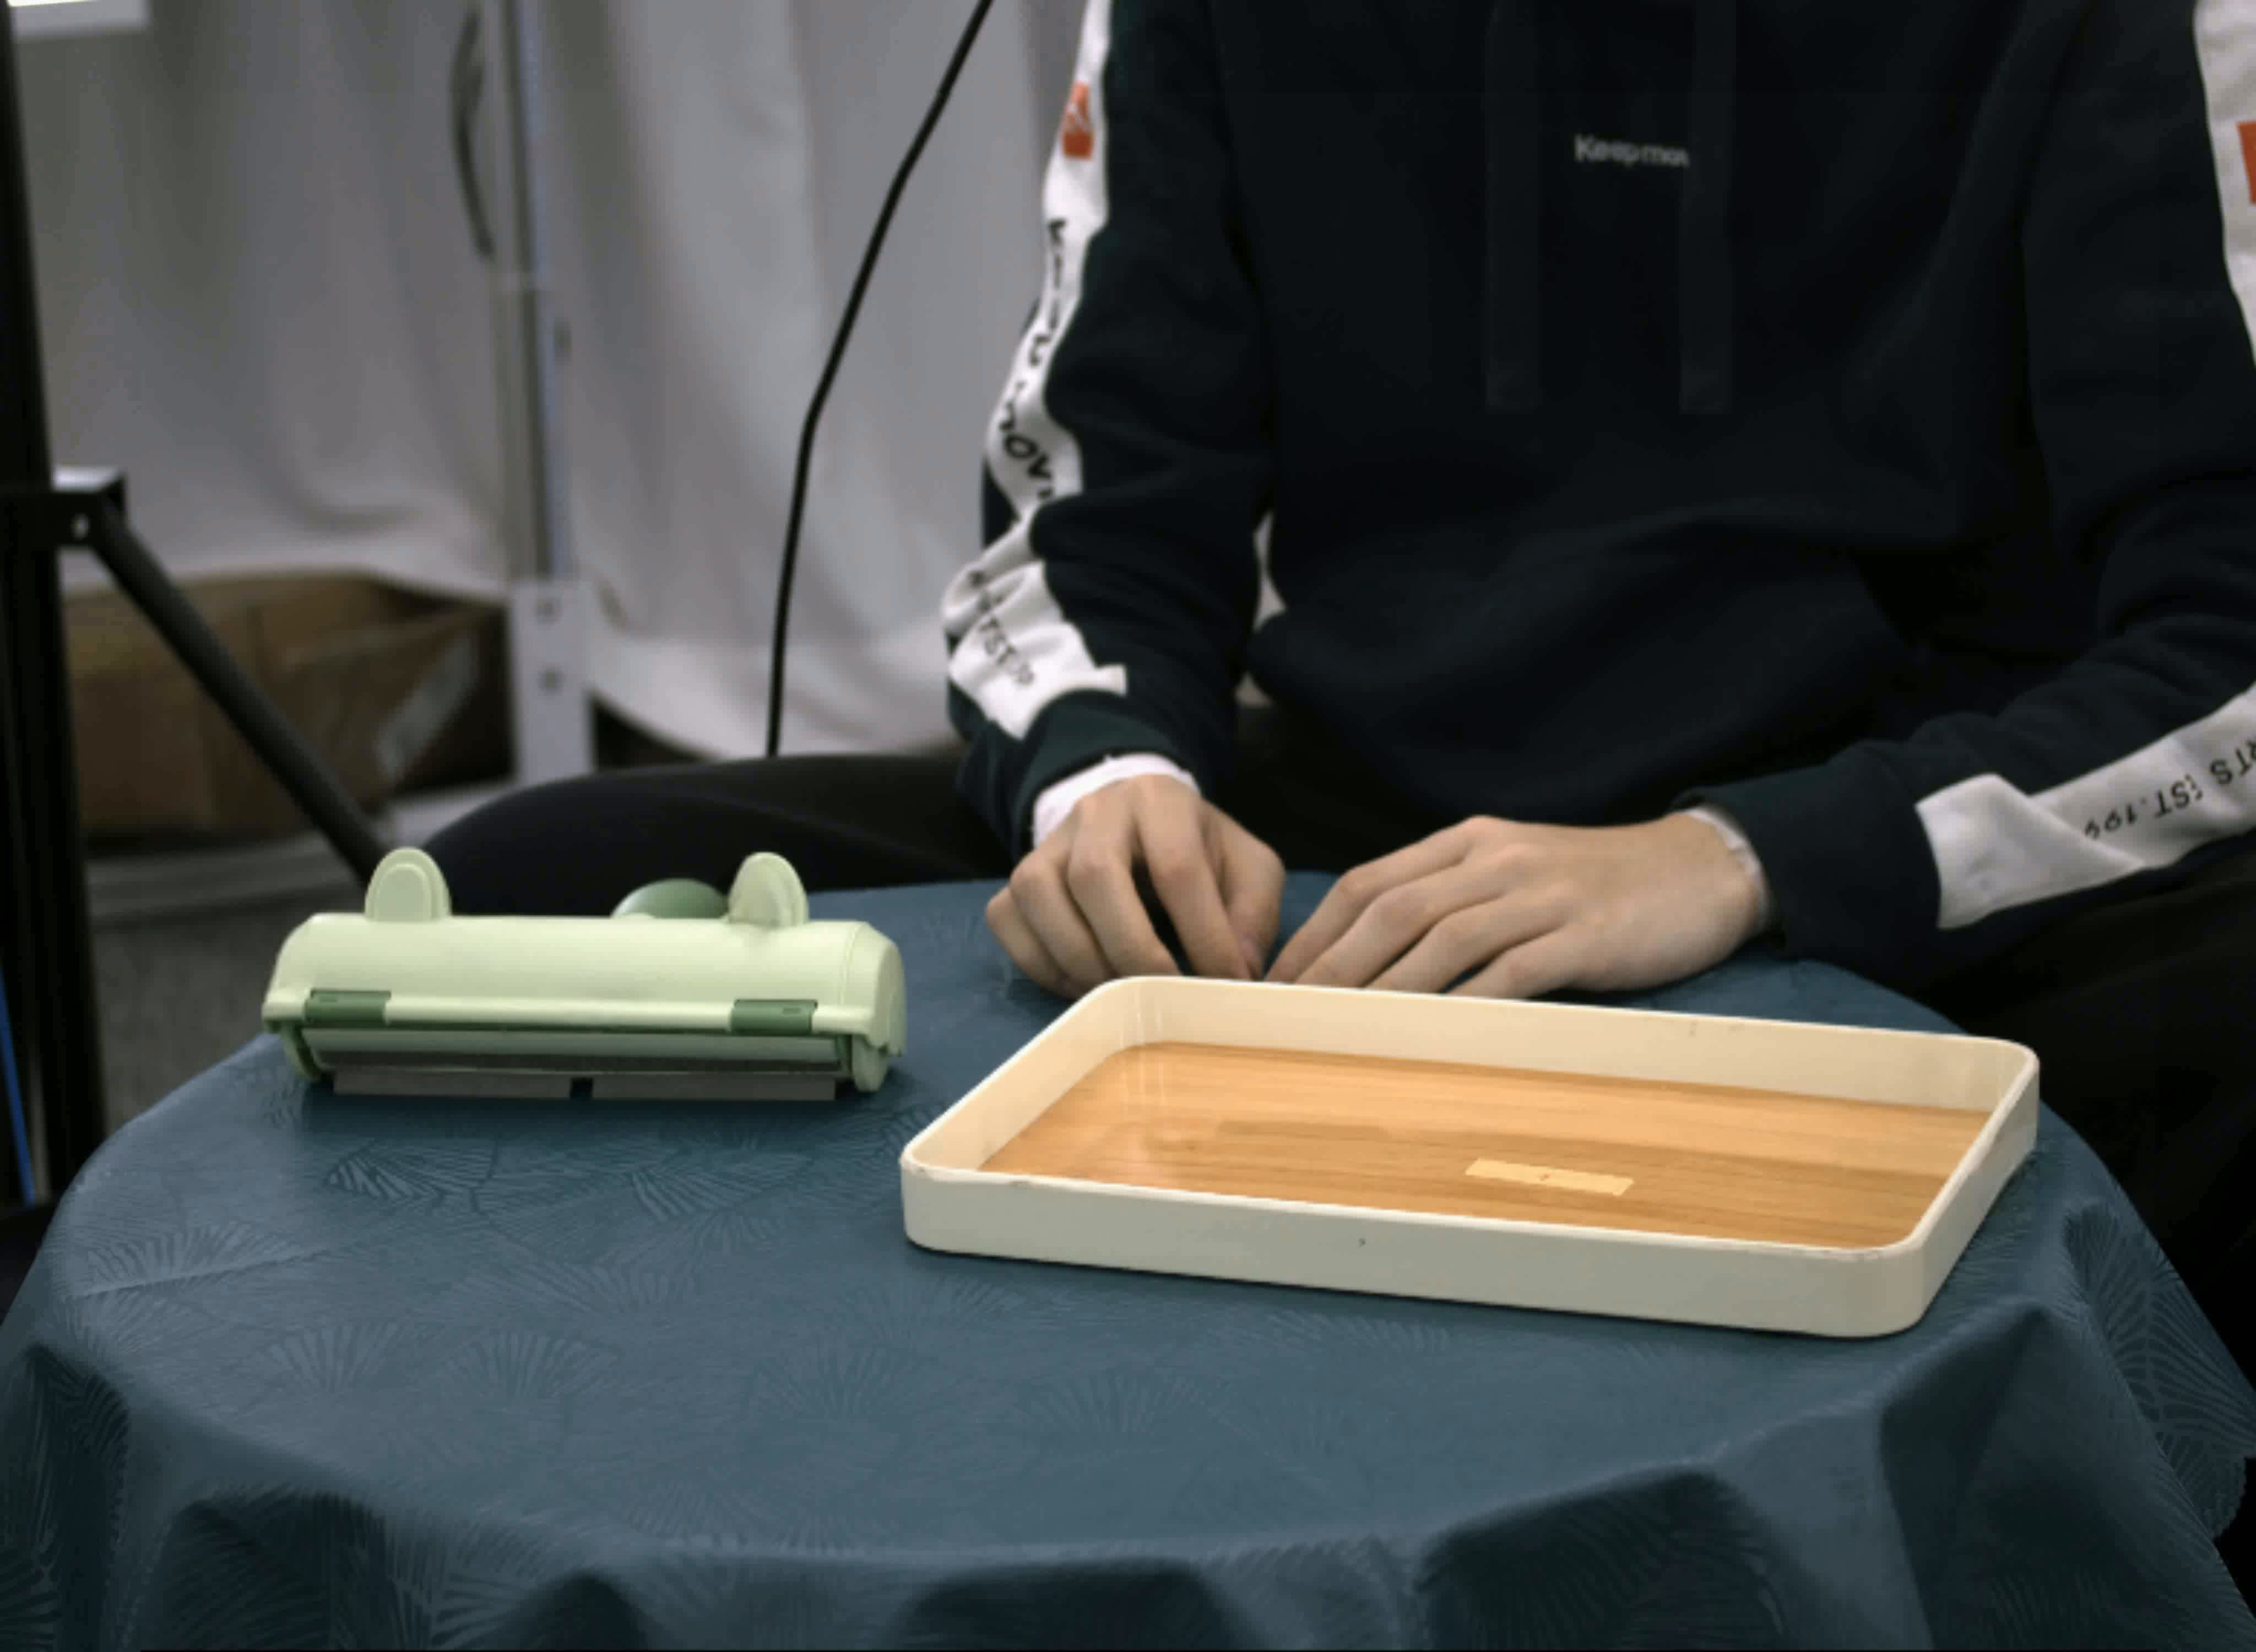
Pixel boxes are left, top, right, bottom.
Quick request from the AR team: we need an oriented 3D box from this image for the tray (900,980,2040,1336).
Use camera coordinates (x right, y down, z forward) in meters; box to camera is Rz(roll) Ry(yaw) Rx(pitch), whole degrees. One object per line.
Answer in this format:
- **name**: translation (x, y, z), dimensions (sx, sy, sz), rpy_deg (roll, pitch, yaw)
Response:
- **tray**: translation (0.102, 0.094, 1.541), dimensions (0.304, 0.027, 0.189), rpy_deg (4, 17, 22)

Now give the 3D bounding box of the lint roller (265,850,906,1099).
- **lint roller**: translation (-0.160, 0.030, 1.724), dimensions (0.199, 0.082, 0.183), rpy_deg (0, 21, 12)
